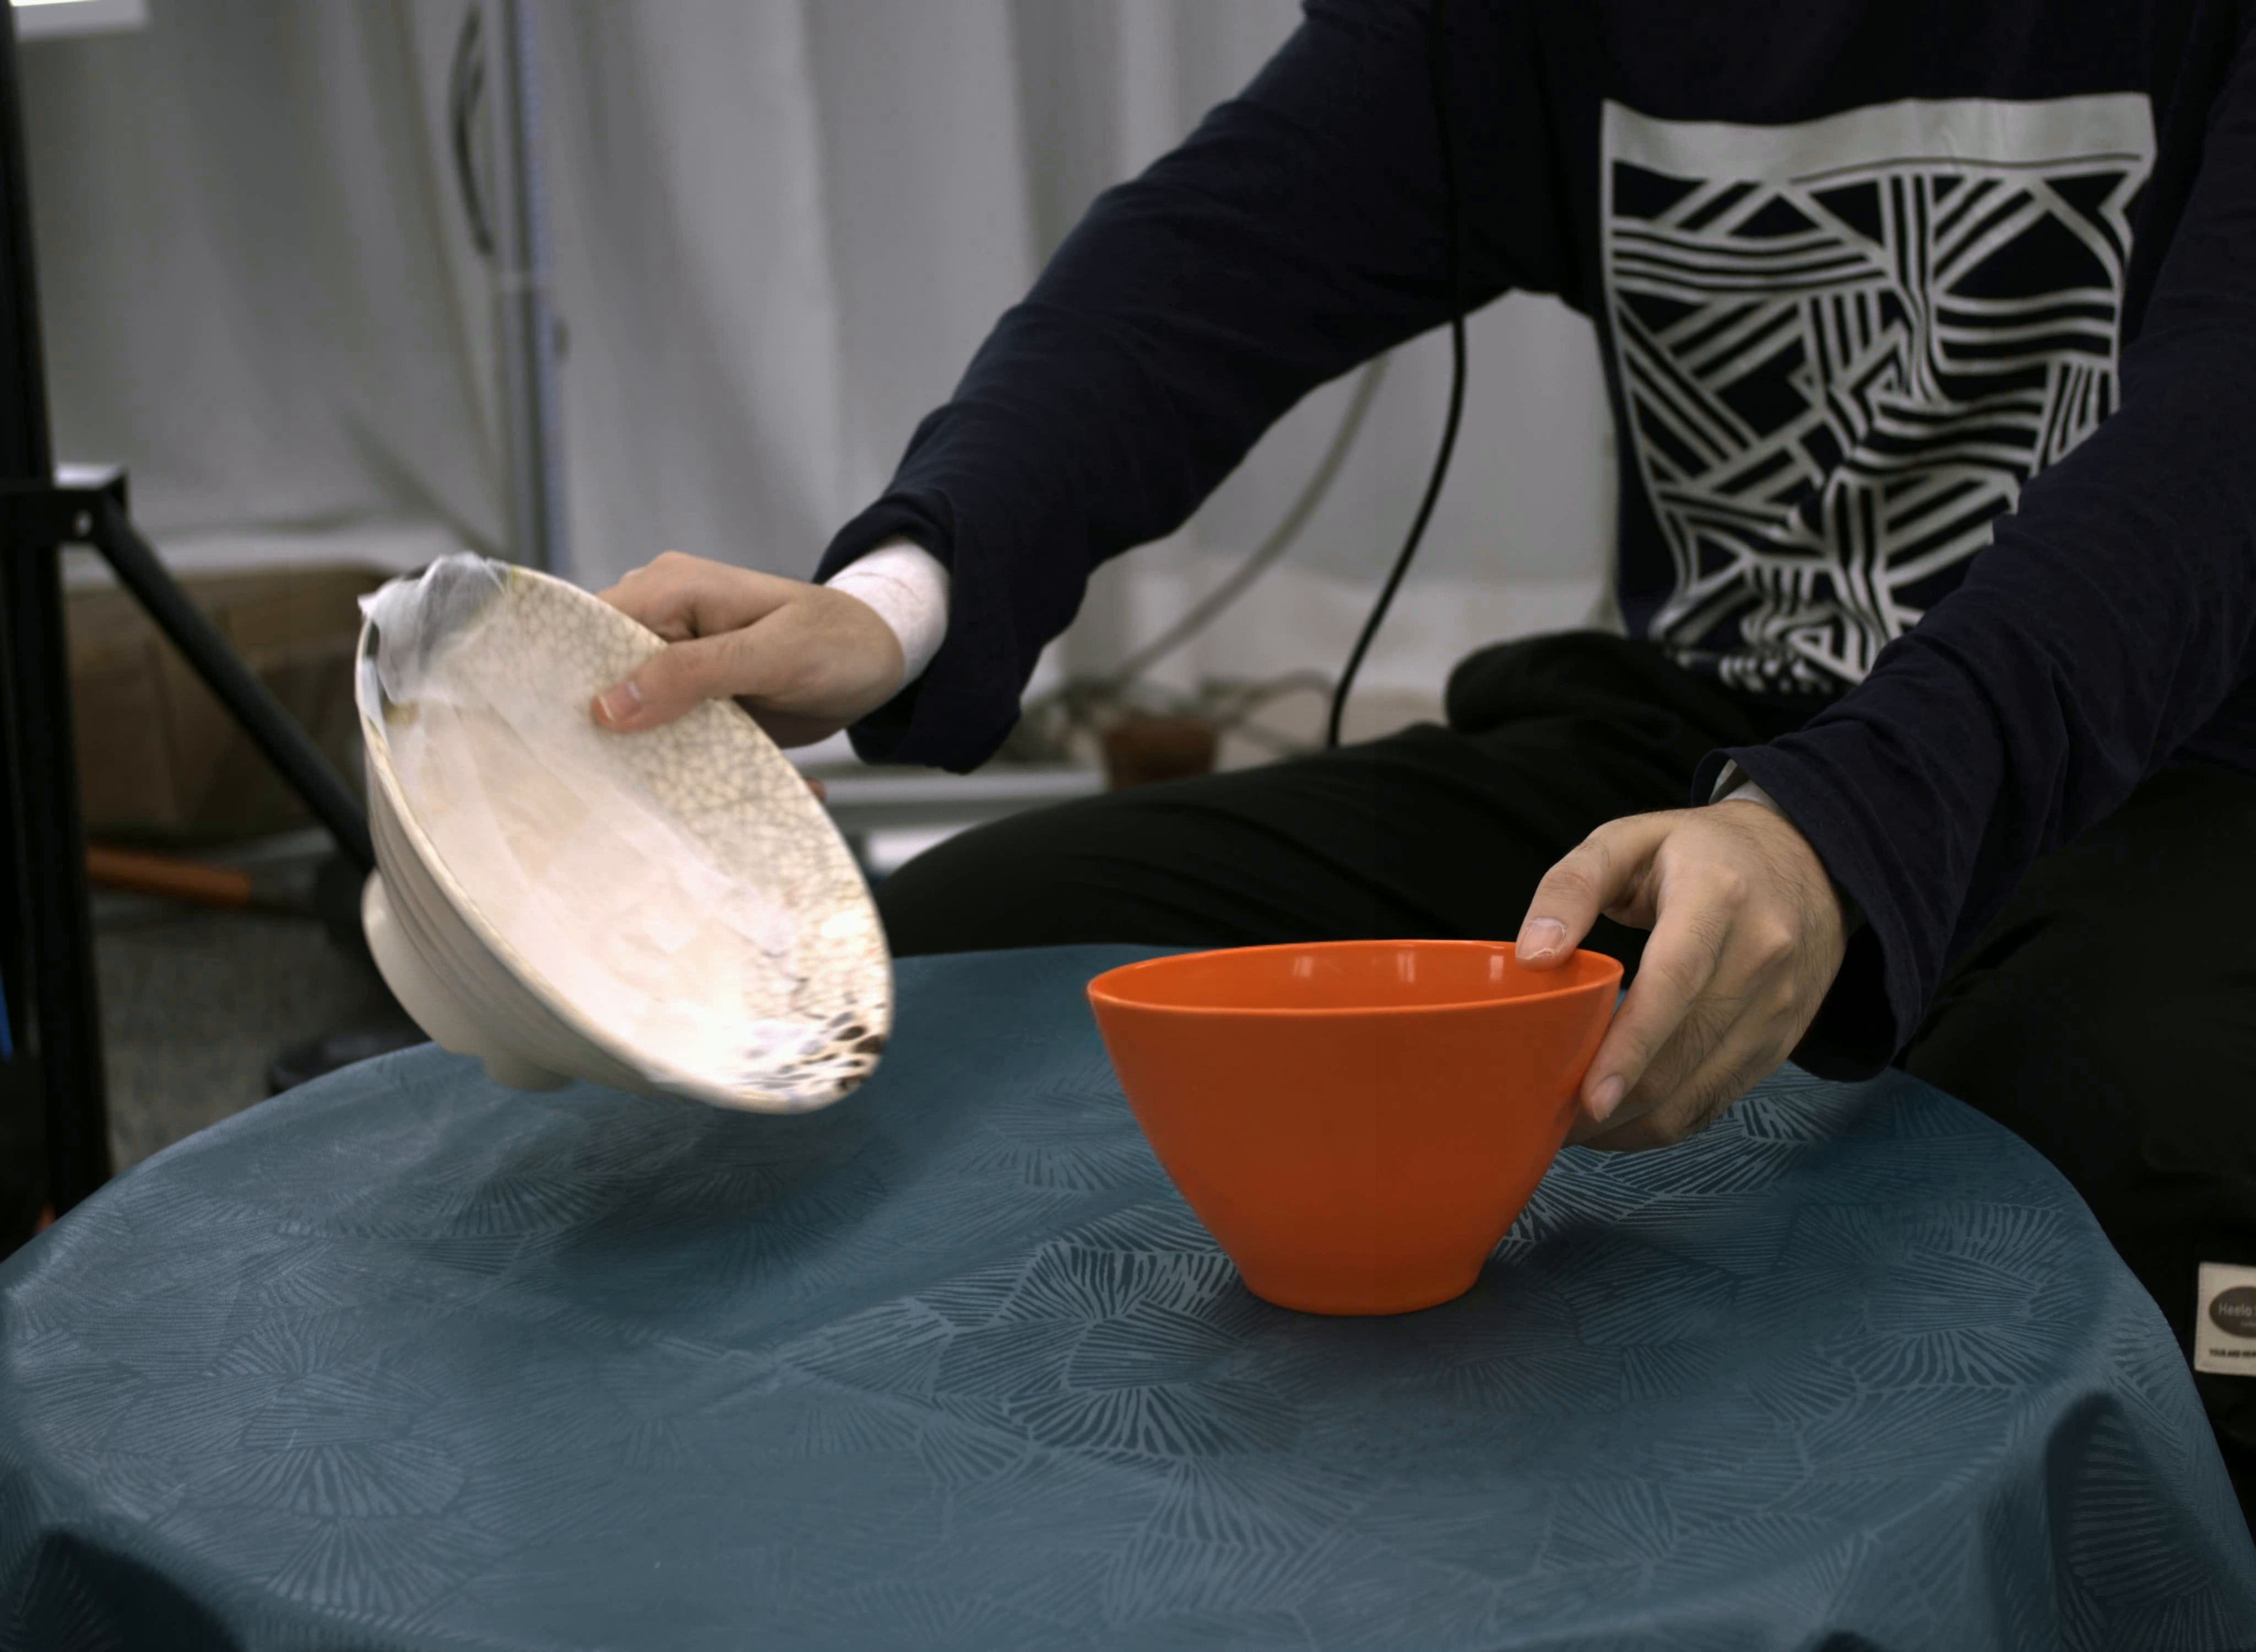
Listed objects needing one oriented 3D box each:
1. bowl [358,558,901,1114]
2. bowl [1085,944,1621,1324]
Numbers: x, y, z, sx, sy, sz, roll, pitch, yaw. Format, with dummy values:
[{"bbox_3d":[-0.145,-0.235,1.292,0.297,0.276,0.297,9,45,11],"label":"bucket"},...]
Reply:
[{"bbox_3d":[-0.168,0.023,1.596,0.078,0.205,0.201,-43,-3,26],"label":"bowl"},{"bbox_3d":[0.063,0.081,1.462,0.147,0.105,0.149,-3,14,-1],"label":"bowl"}]
